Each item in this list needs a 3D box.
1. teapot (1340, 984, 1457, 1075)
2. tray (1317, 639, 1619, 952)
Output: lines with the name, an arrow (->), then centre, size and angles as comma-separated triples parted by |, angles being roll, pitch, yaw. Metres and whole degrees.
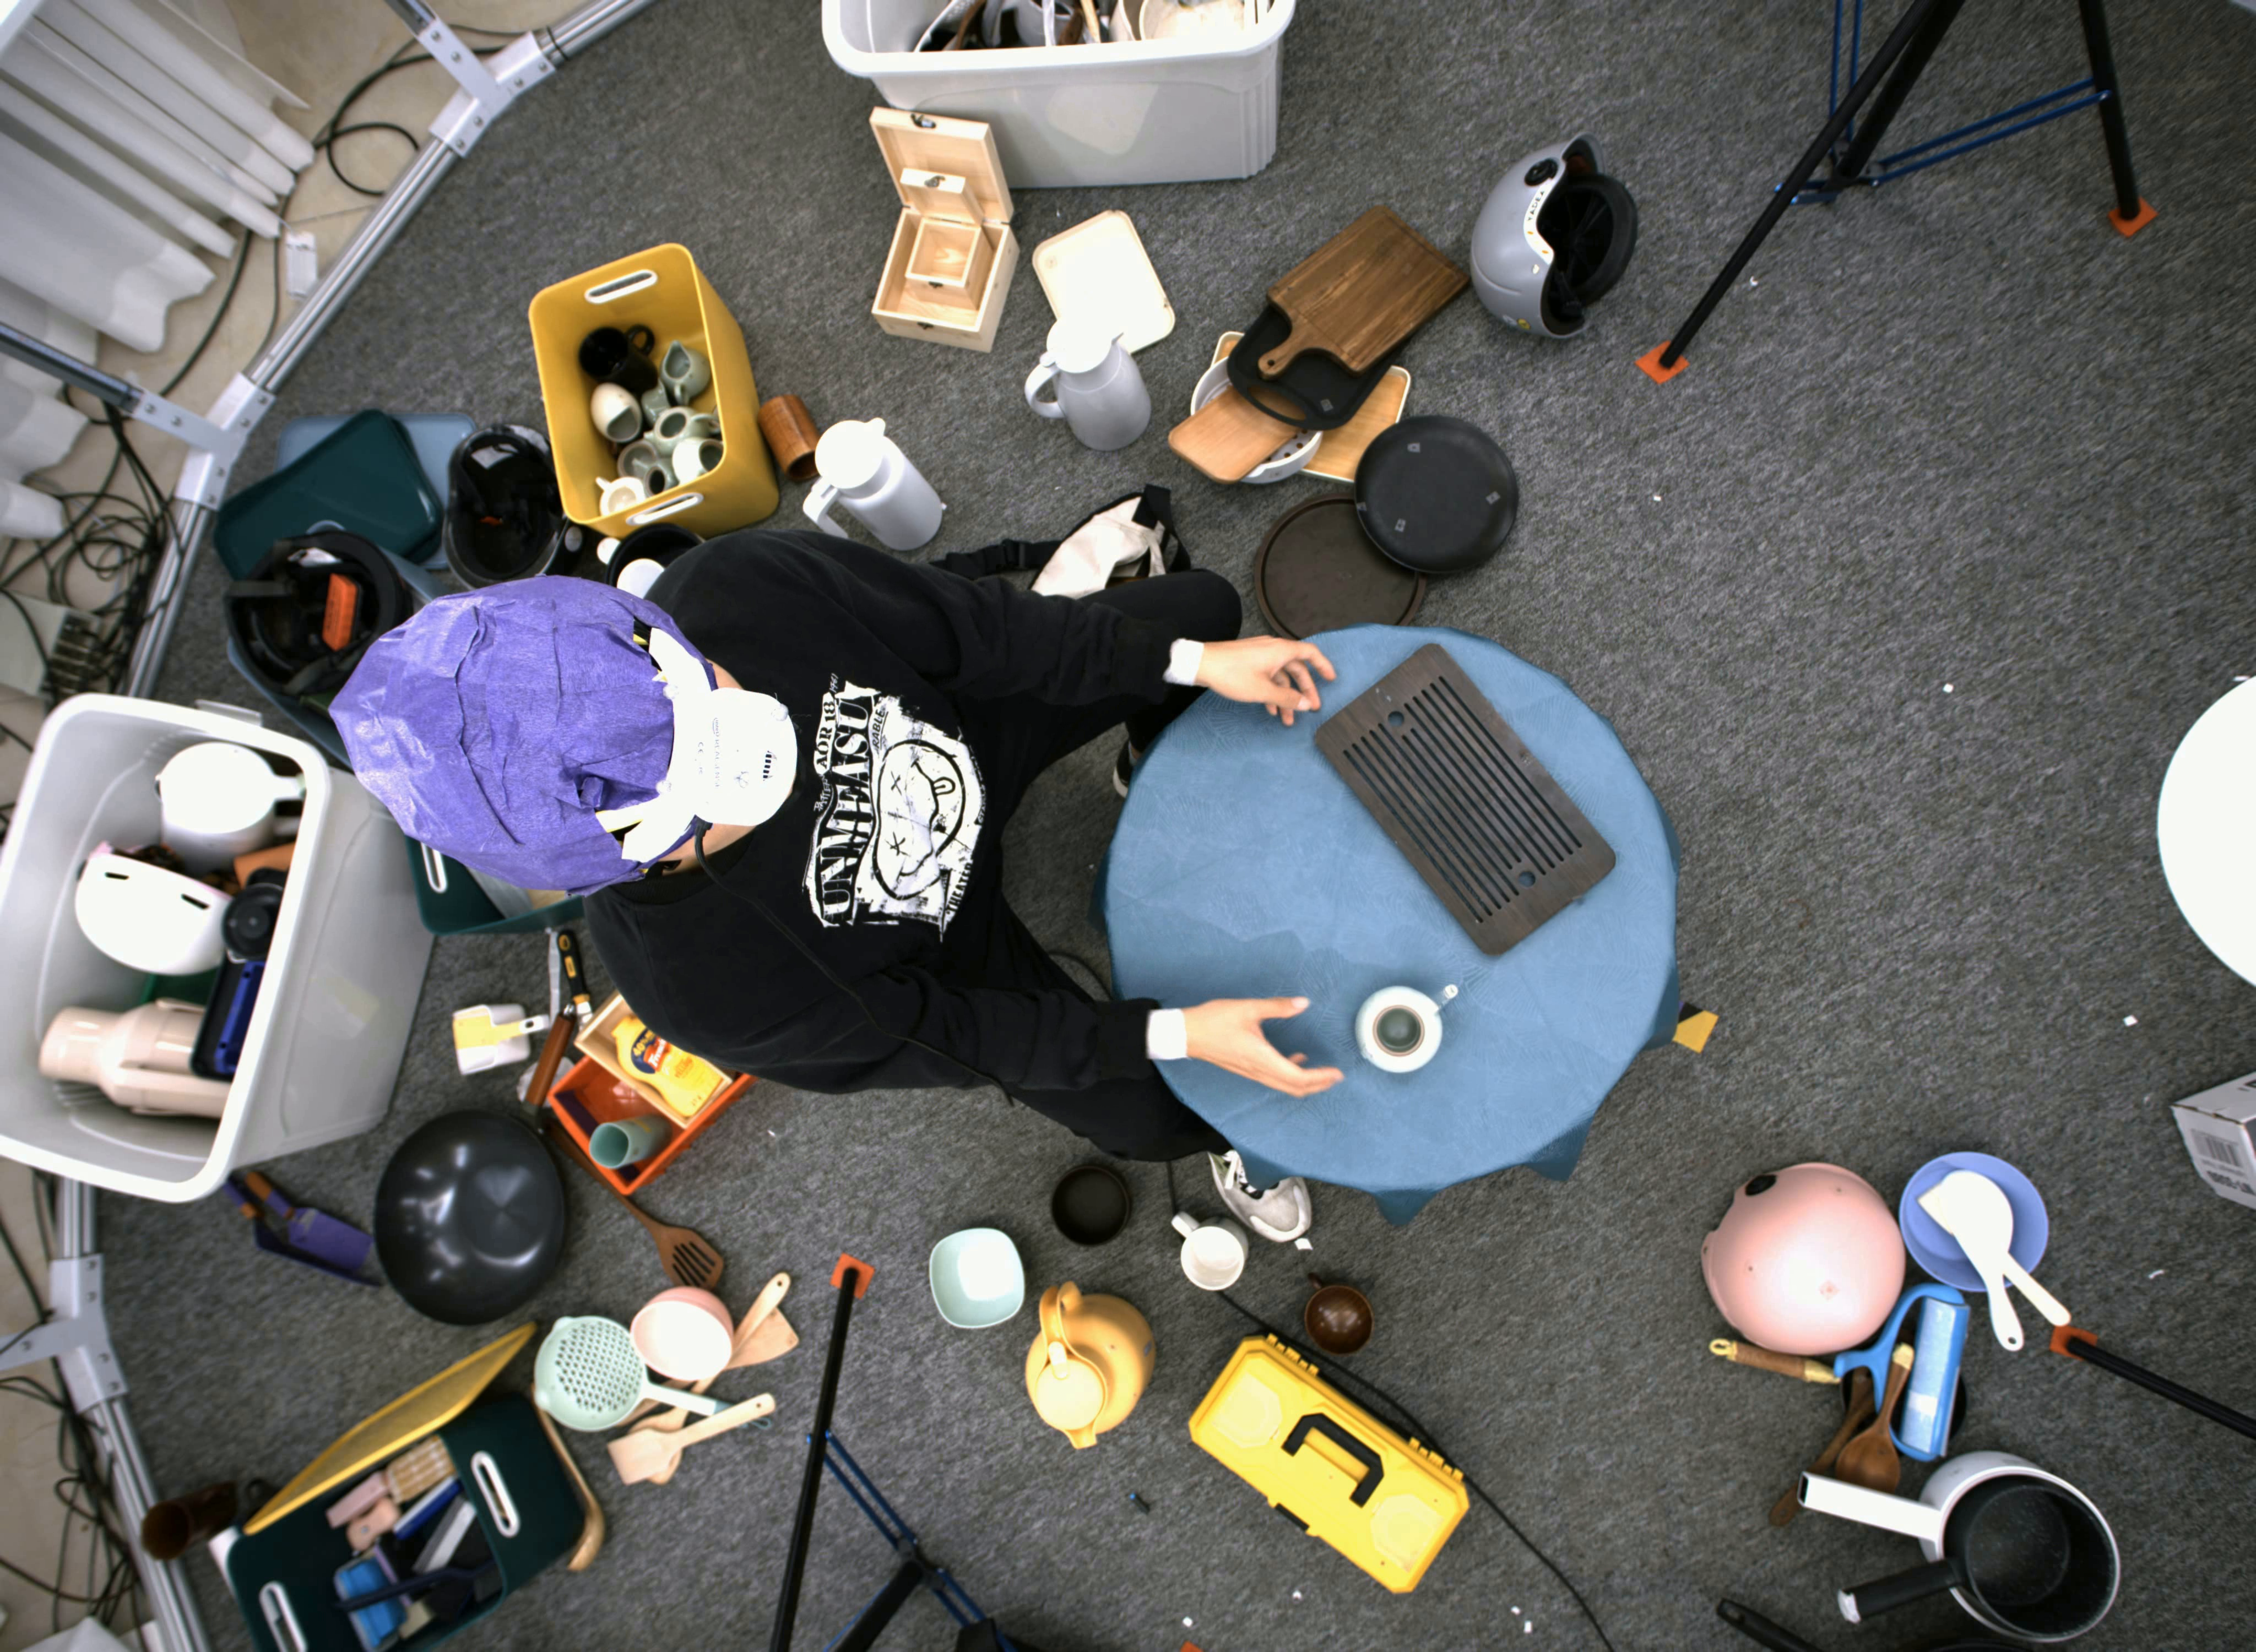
teapot -> 0.276, 0.205, 1.417 | 0.144, 0.075, 0.088 | -36, 81, 6
tray -> 0.354, -0.035, 1.441 | 0.171, 0.018, 0.304 | -38, 81, 7
